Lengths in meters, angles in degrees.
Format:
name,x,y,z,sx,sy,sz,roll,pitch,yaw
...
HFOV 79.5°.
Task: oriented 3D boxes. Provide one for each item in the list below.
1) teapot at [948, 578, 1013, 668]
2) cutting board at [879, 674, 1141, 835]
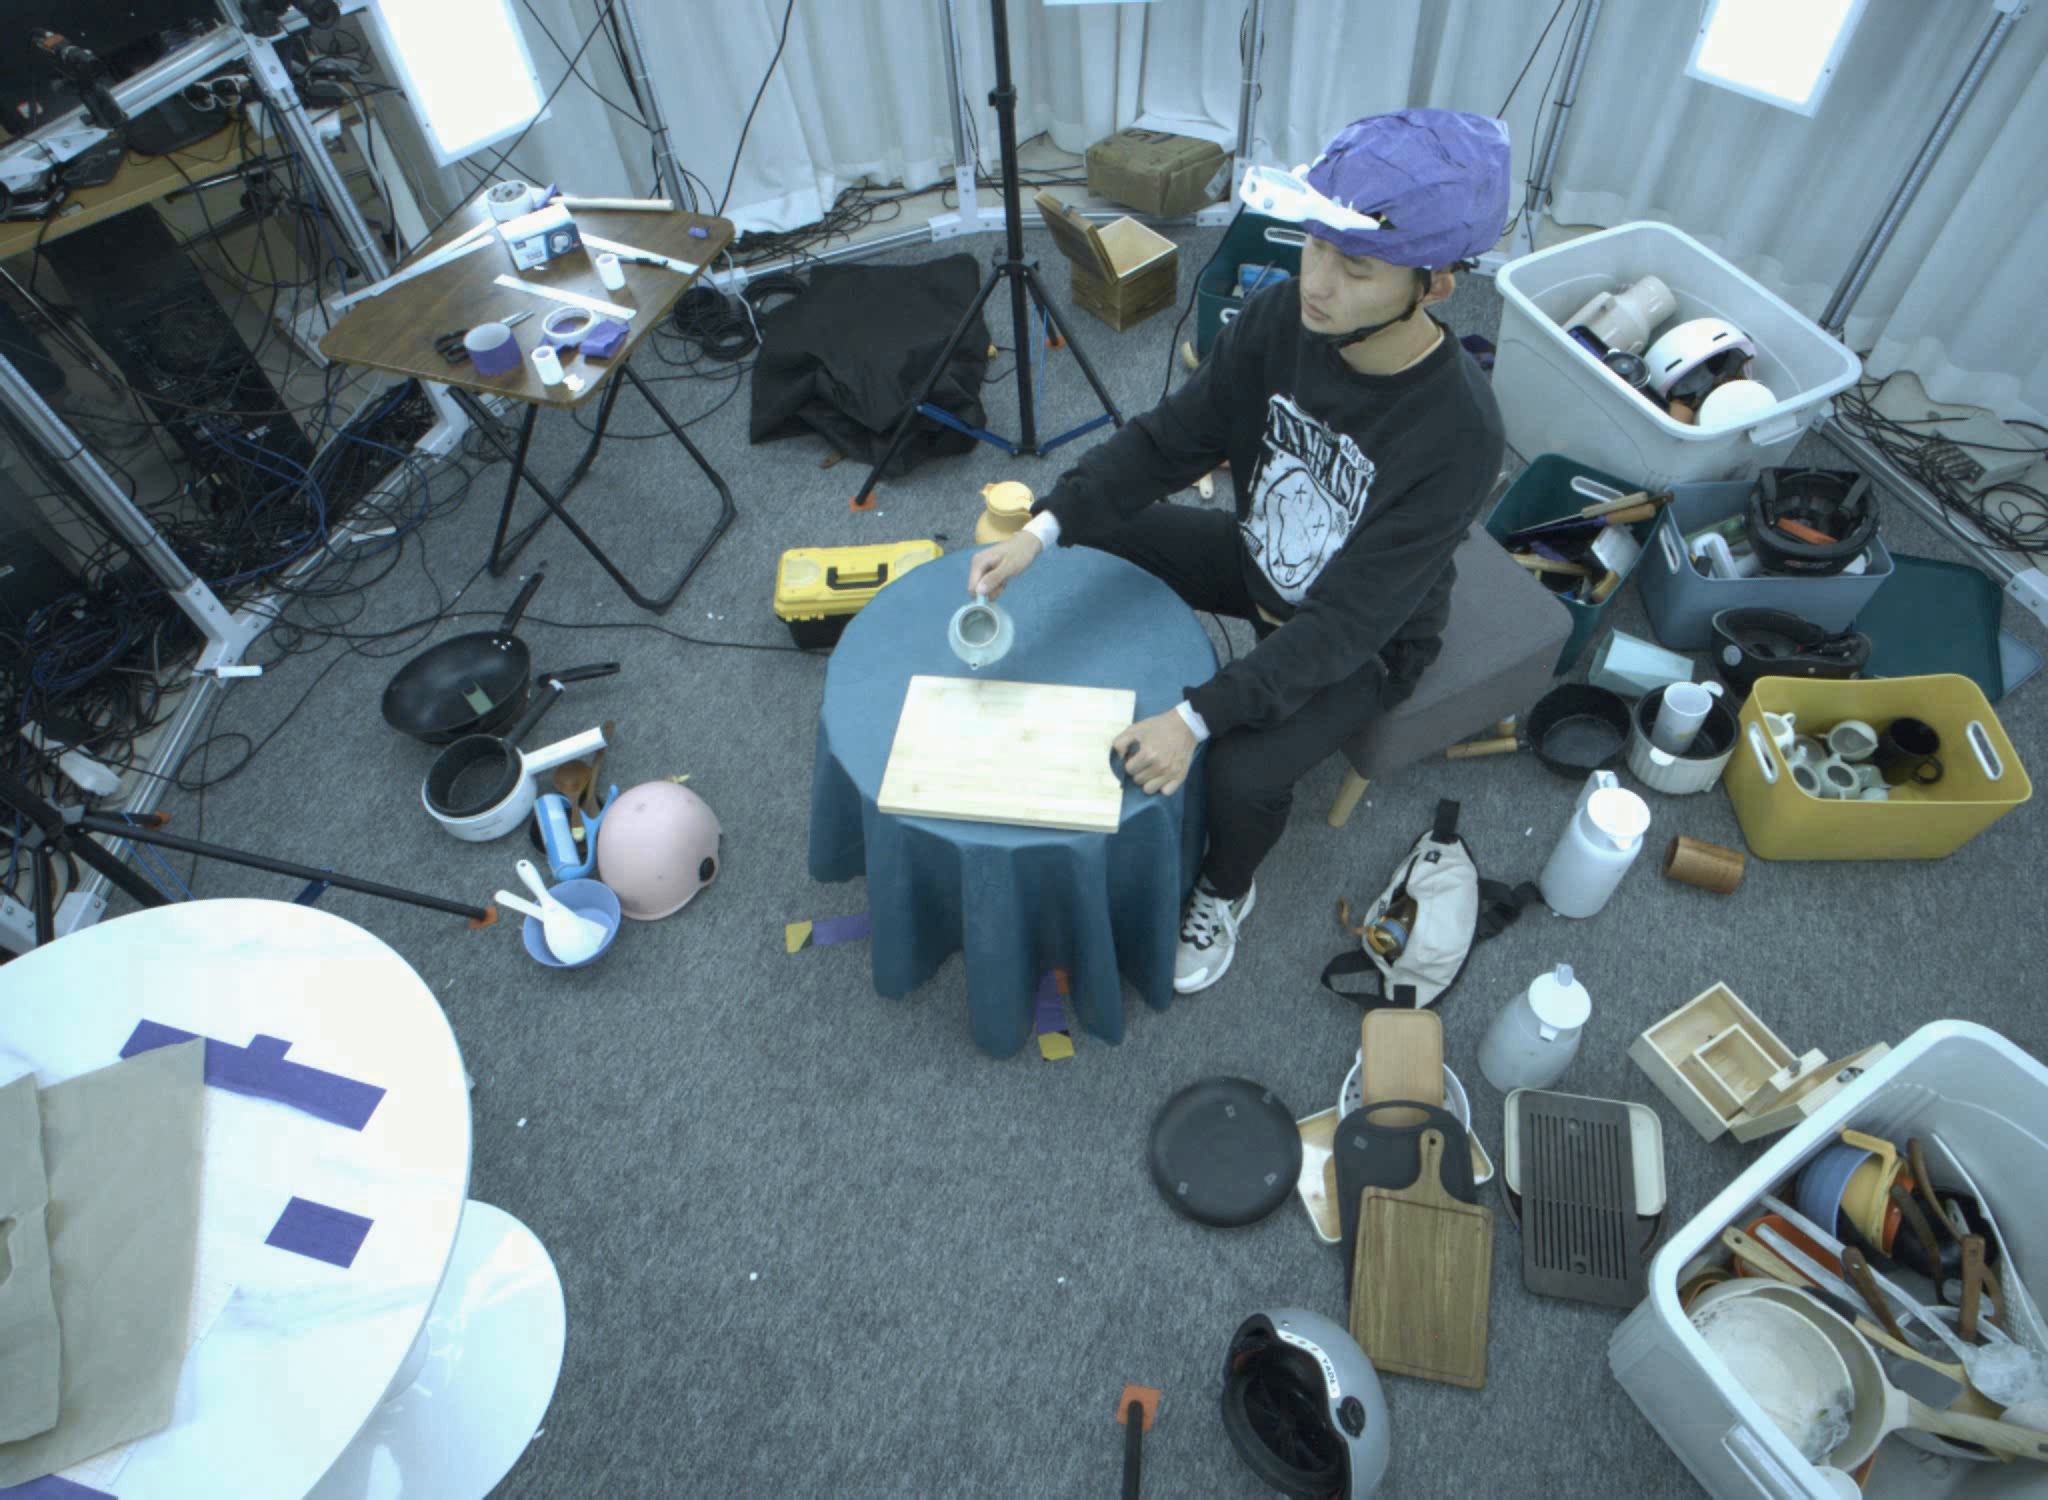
name,x,y,z,sx,sy,sz,roll,pitch,yaw
teapot,-0.065,-0.178,1.763,0.096,0.062,0.136,1,82,6
cutting board,-0.015,0.001,1.768,0.347,0.024,0.249,4,55,6
